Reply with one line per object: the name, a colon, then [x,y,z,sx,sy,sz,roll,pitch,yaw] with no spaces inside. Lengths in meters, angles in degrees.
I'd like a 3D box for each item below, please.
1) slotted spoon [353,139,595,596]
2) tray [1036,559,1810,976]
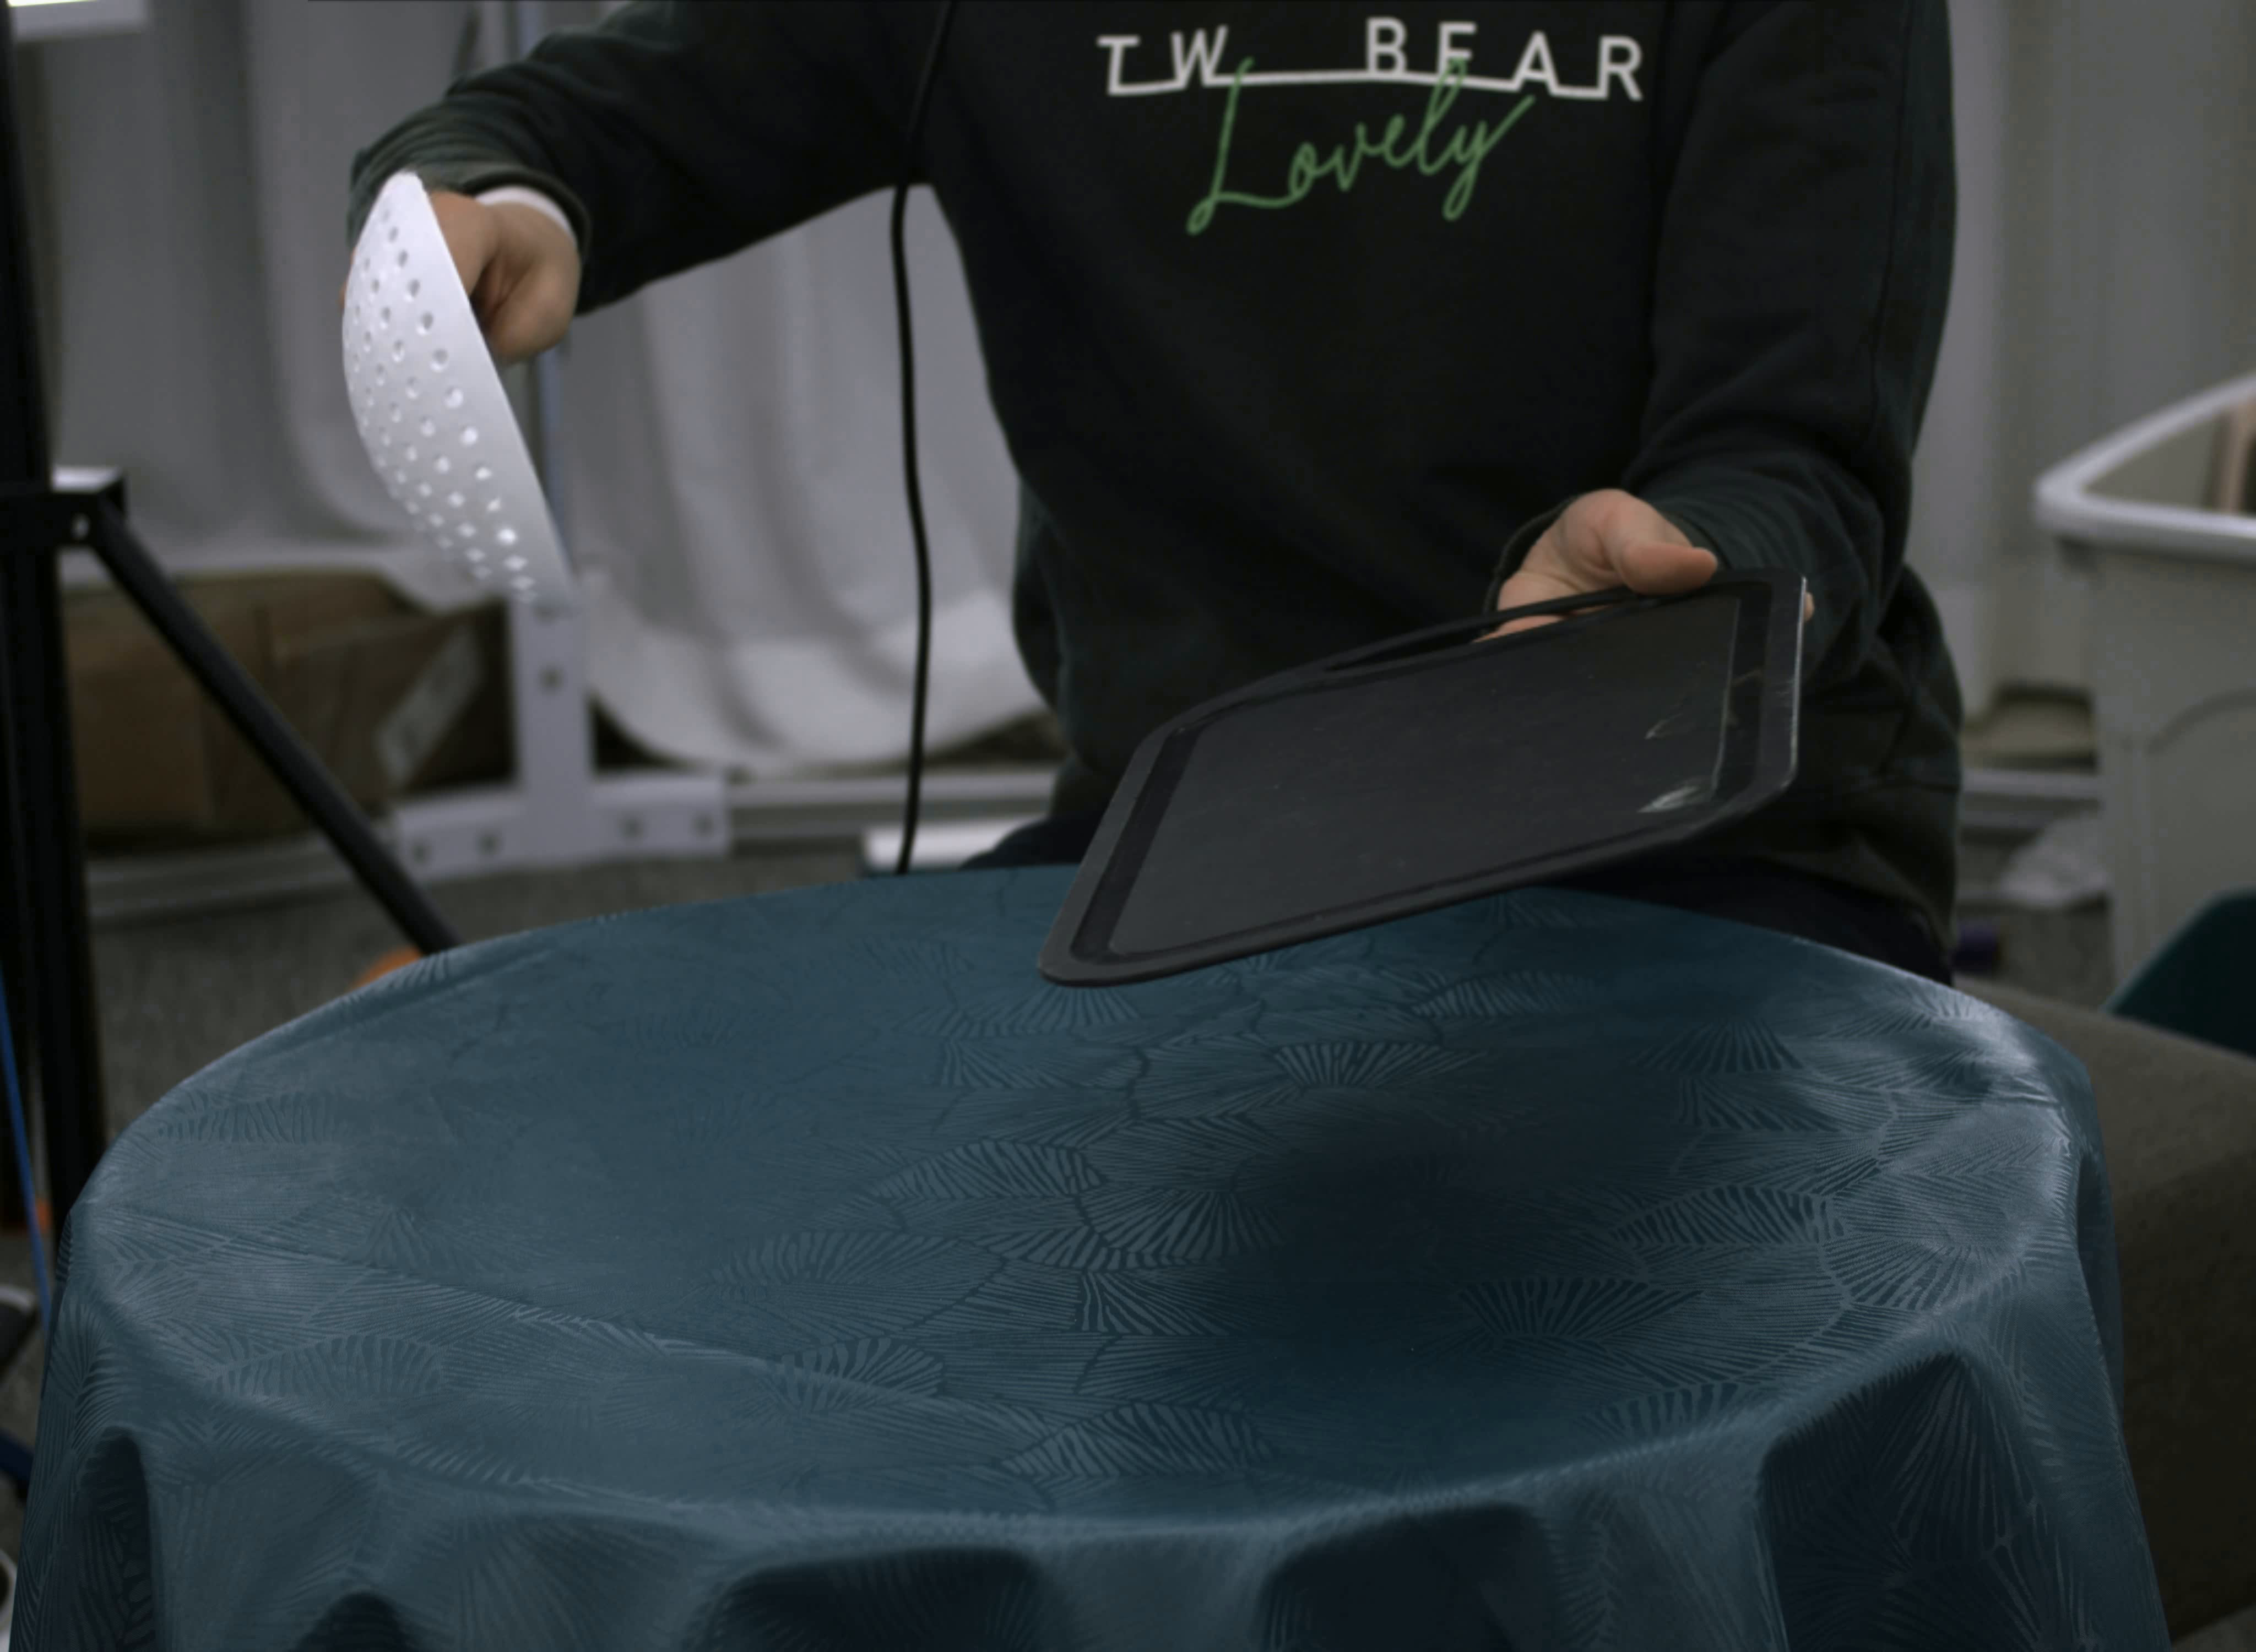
slotted spoon: [-0.199,-0.138,1.611,0.045,0.136,0.351,-21,9,-1]
tray: [0.090,-0.023,1.509,0.212,0.010,0.324,-14,14,12]
